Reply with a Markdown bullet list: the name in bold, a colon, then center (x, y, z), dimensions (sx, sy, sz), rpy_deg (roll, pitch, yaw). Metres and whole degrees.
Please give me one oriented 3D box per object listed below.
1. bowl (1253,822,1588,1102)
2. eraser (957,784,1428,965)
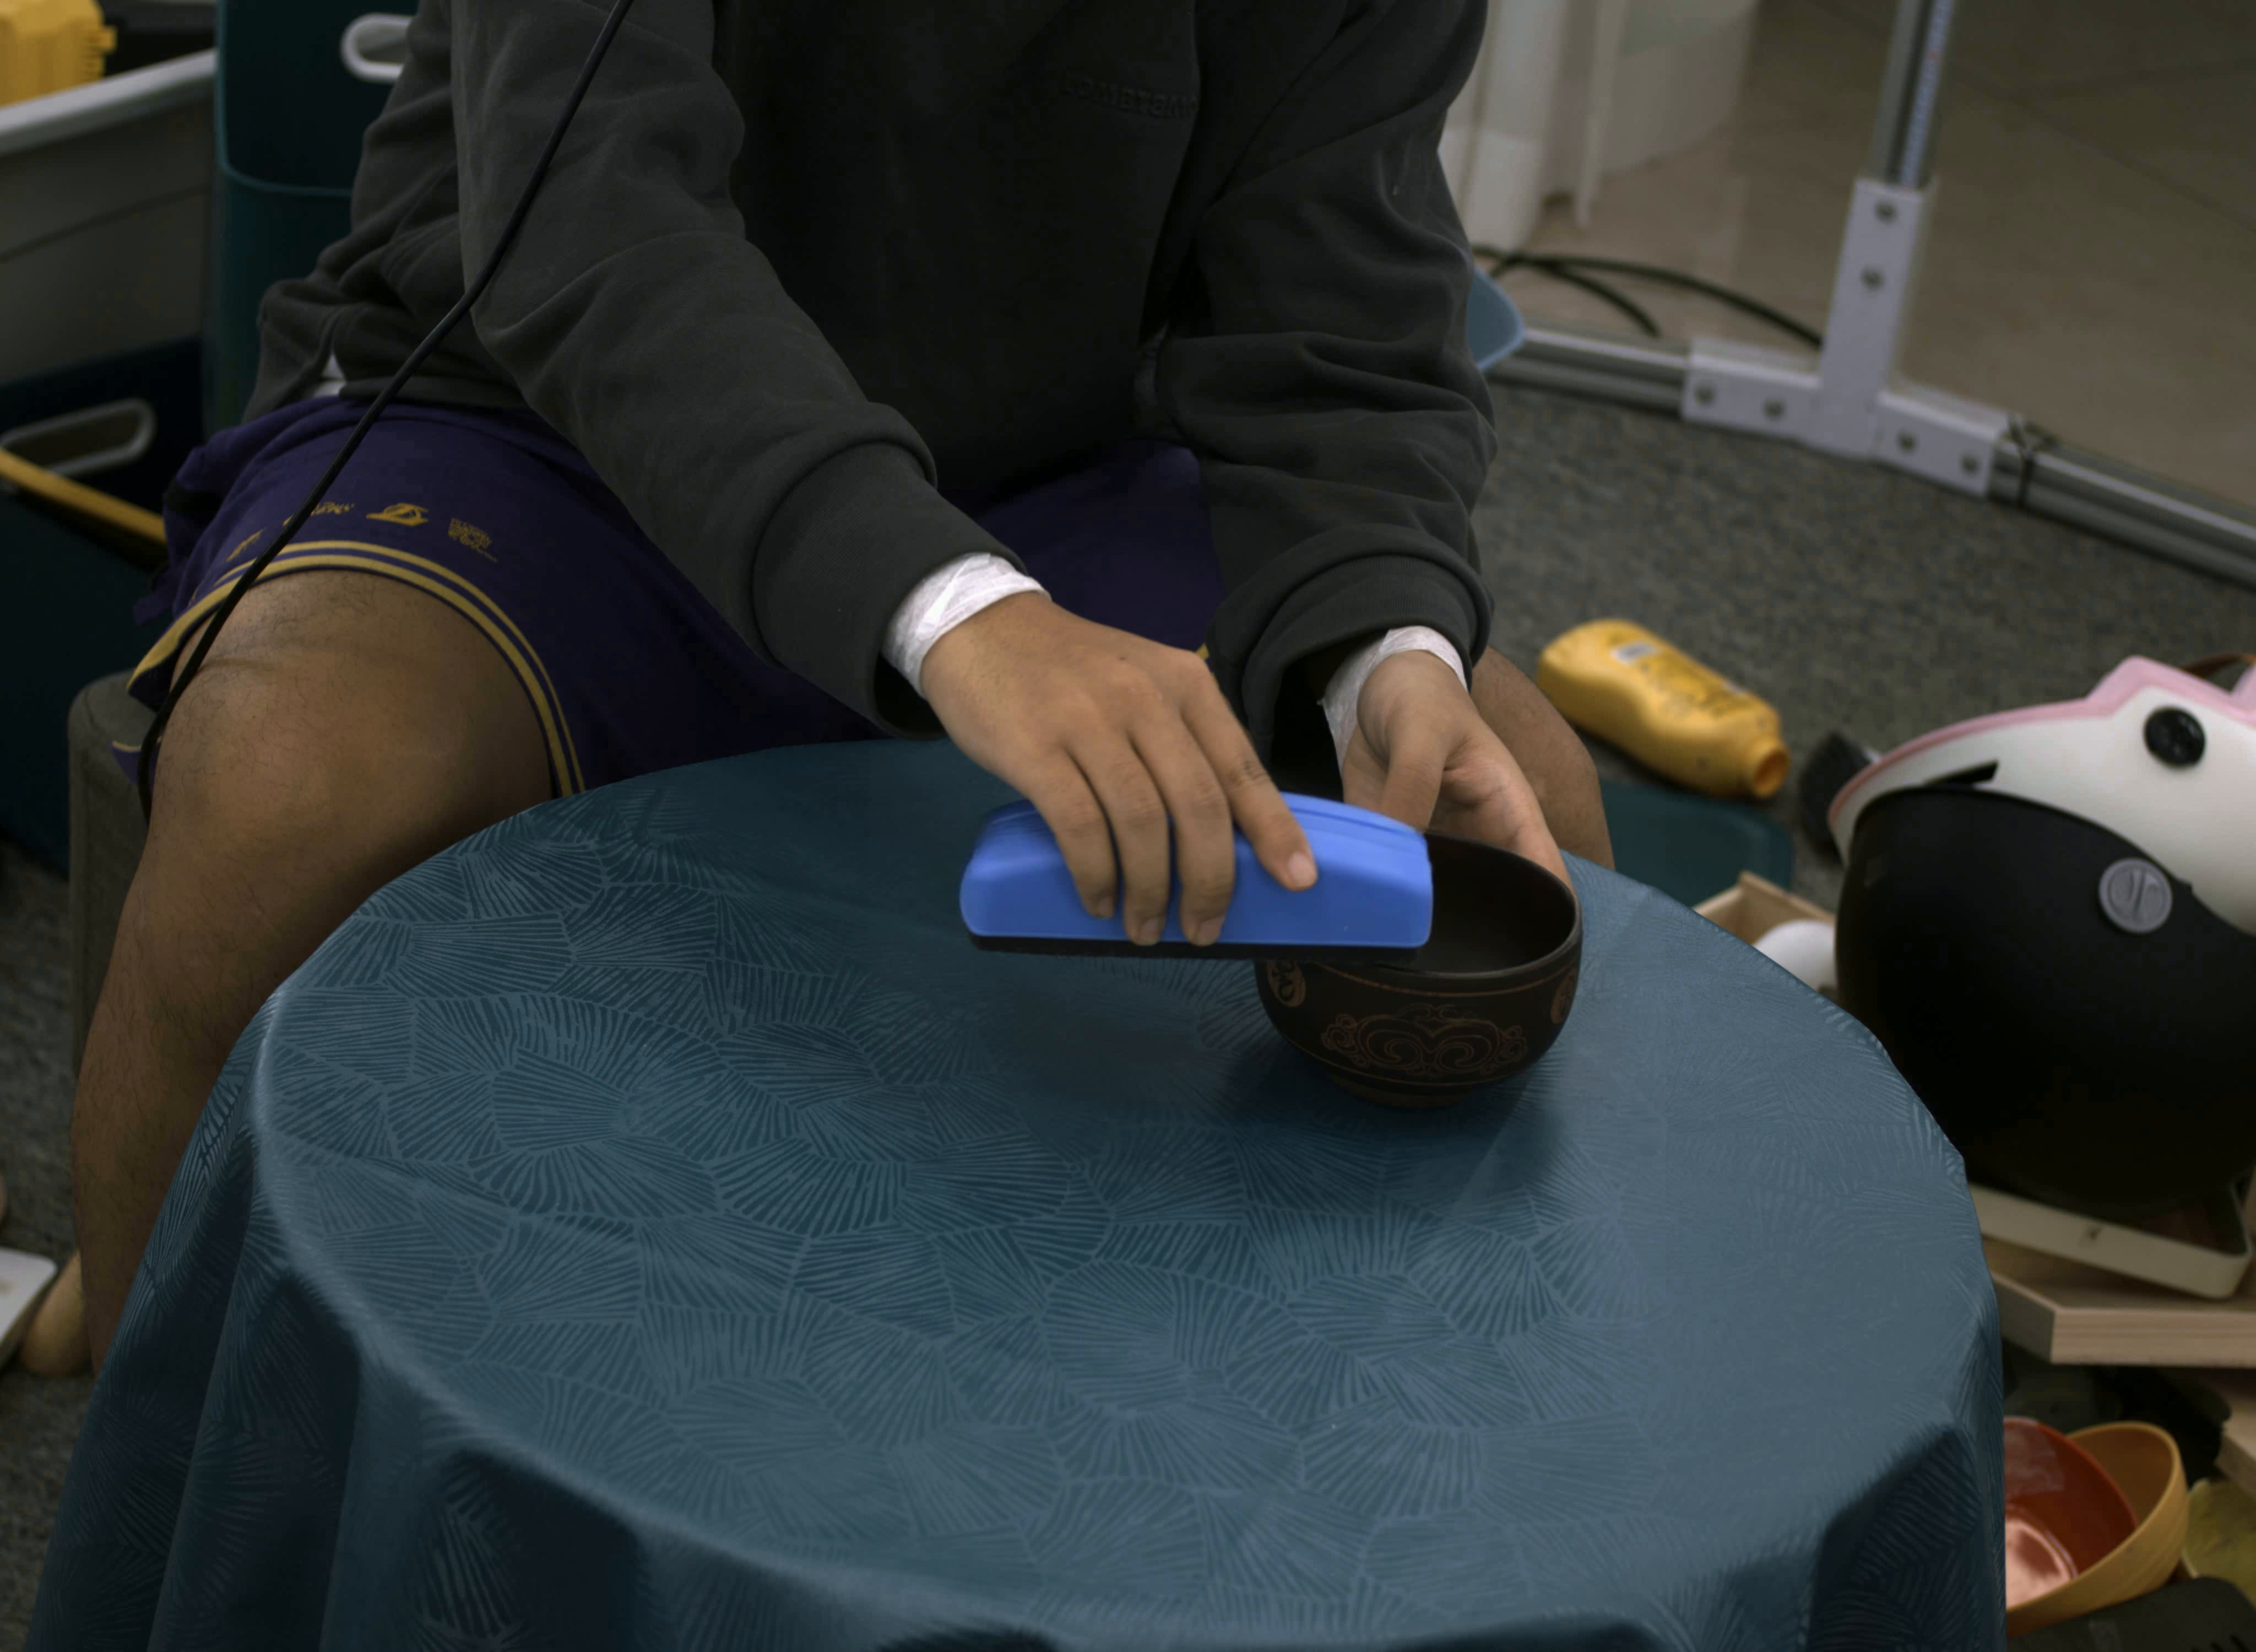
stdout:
- **bowl**: center (0.101, 0.054, 1.878), dimensions (0.117, 0.069, 0.119), rpy_deg (4, 25, -2)
- **eraser**: center (0.023, 0.015, 1.822), dimensions (0.161, 0.047, 0.054), rpy_deg (1, 28, -2)
